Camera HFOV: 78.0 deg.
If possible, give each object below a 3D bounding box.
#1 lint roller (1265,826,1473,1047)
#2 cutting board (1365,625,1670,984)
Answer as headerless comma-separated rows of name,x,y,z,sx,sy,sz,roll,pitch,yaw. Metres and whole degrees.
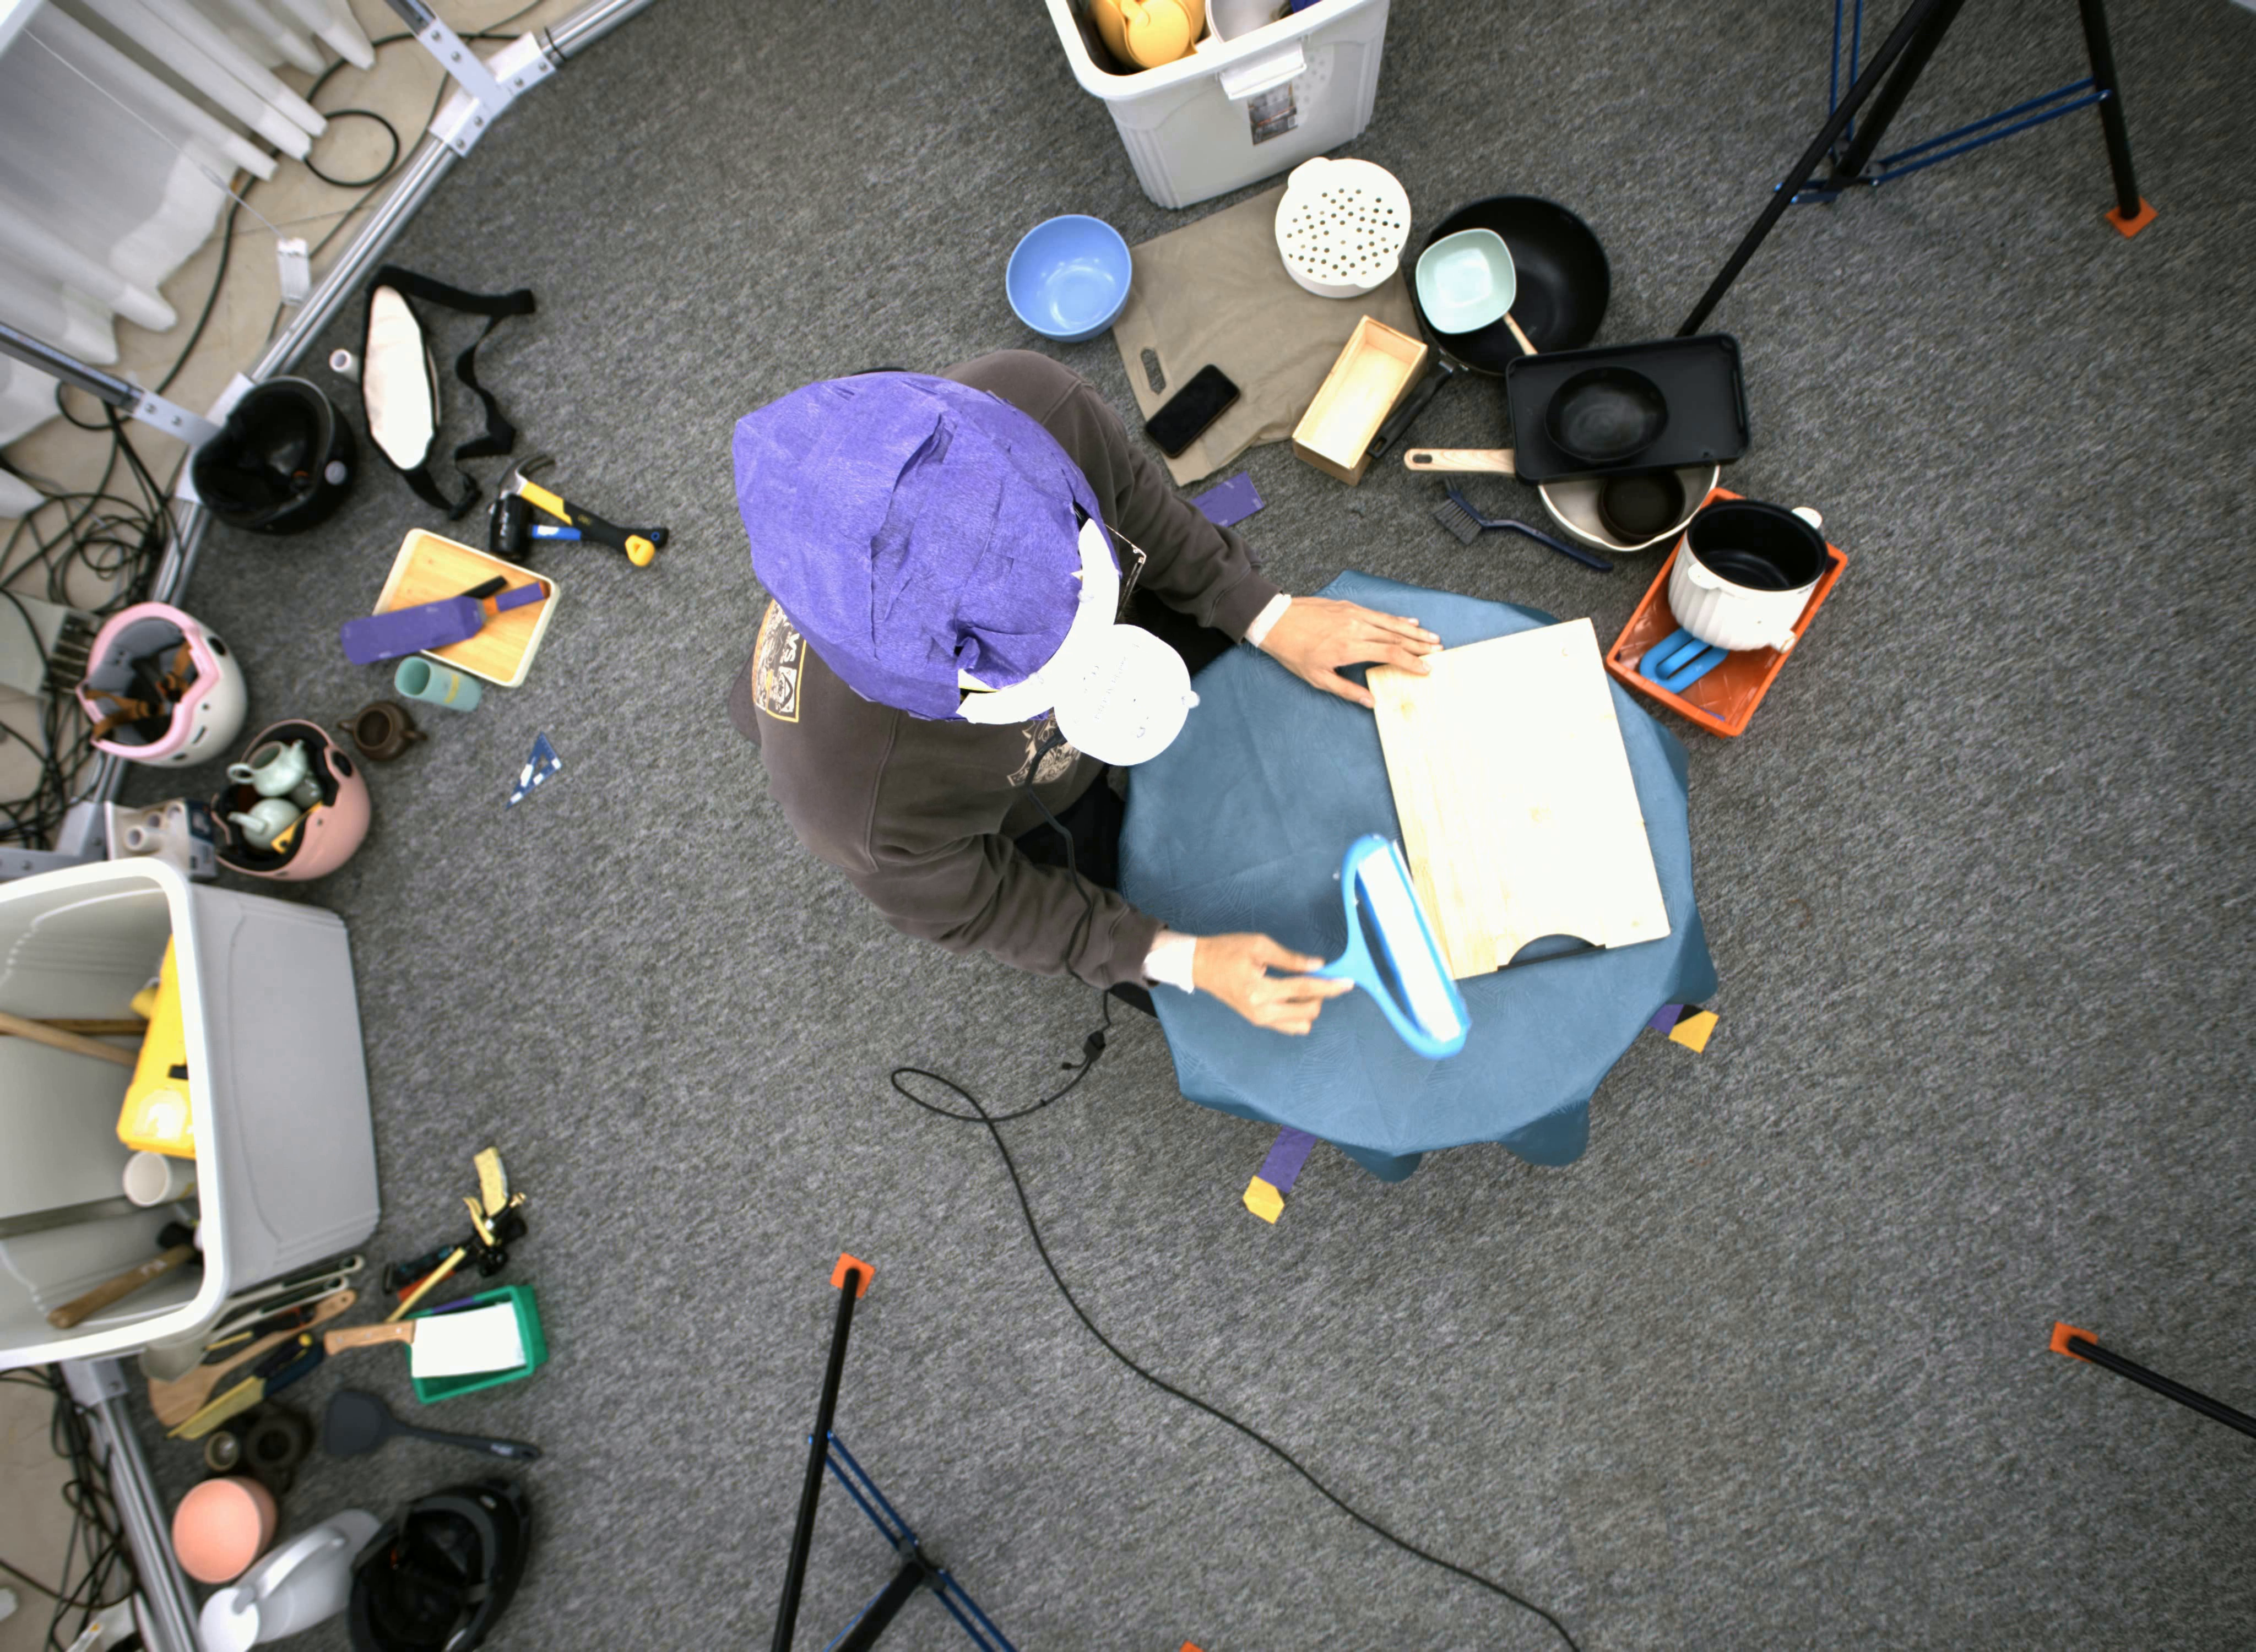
lint roller,0.222,0.130,1.355,0.180,0.068,0.228,-24,86,-1
cutting board,0.402,-0.024,1.429,0.252,0.023,0.346,-13,85,10
